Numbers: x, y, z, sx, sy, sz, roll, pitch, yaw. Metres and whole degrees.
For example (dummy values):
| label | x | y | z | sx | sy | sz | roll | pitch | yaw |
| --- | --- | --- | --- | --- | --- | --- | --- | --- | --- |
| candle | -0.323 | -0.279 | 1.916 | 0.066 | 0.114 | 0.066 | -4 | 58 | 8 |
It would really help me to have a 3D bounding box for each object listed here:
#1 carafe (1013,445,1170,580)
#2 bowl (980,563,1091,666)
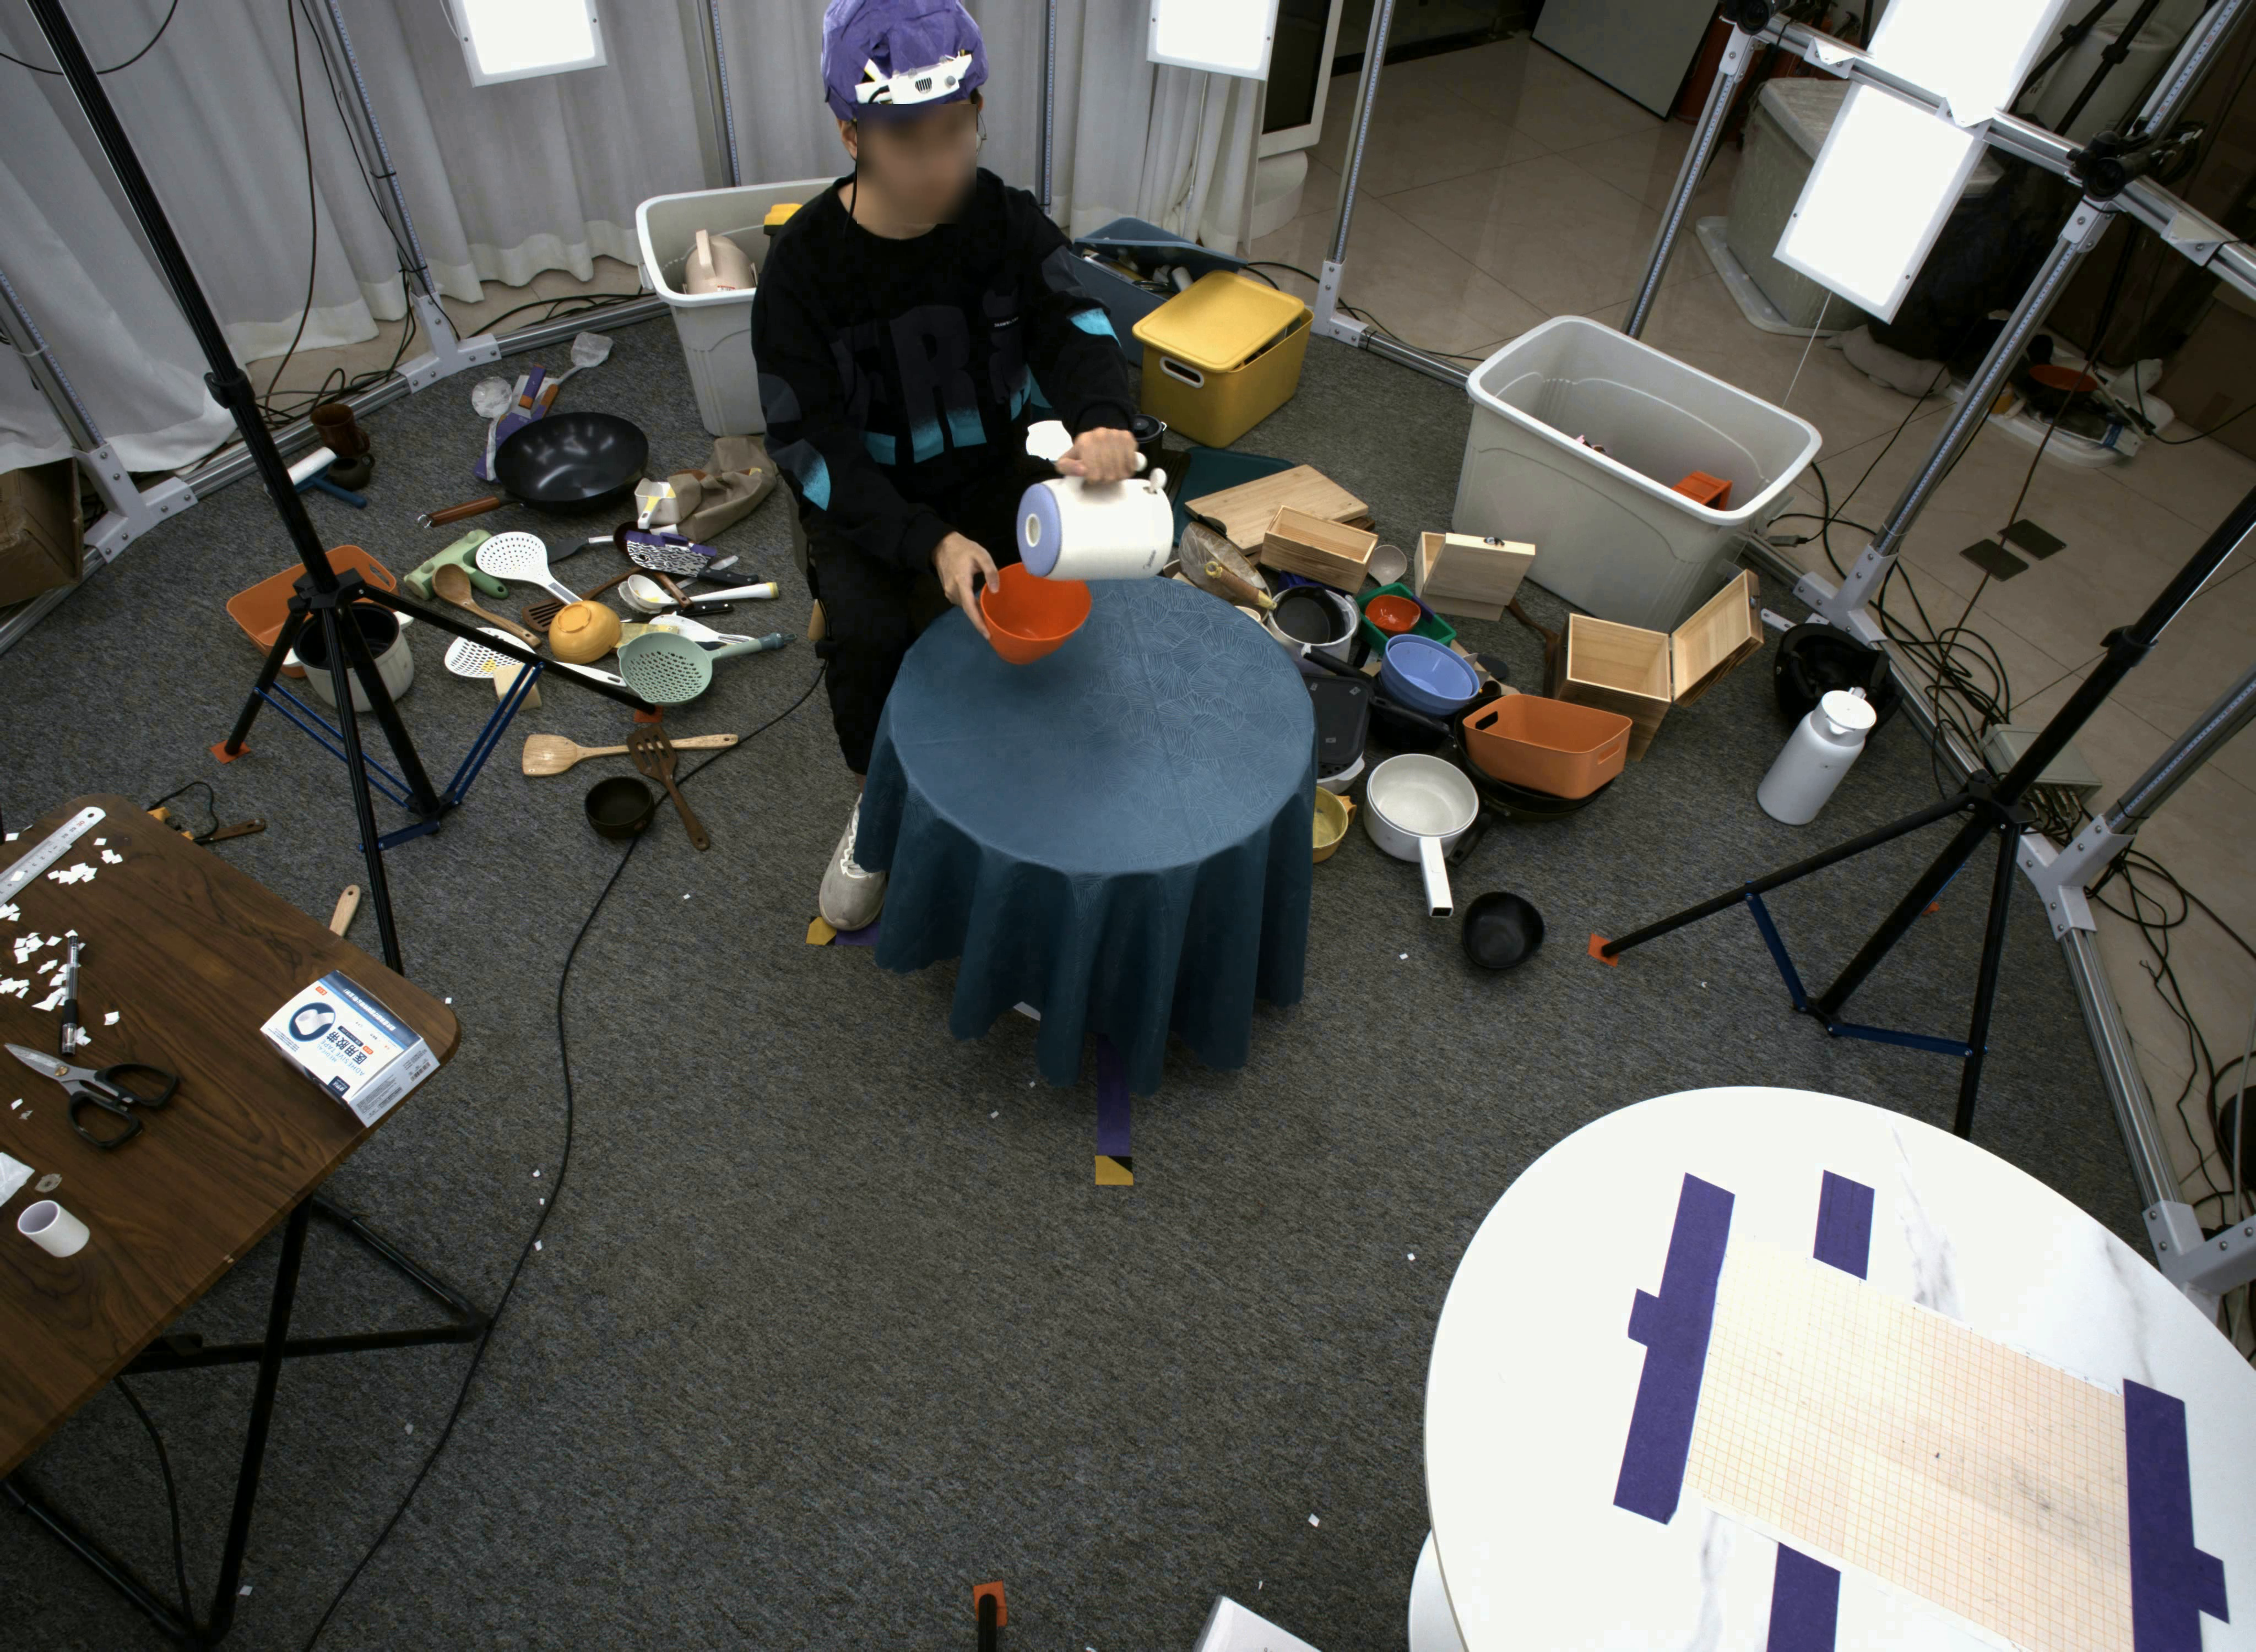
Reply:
| label | x | y | z | sx | sy | sz | roll | pitch | yaw |
| --- | --- | --- | --- | --- | --- | --- | --- | --- | --- |
| carafe | -0.040 | -0.406 | 1.665 | 0.182 | 0.187 | 0.135 | -7 | 49 | -30 |
| bowl | -0.133 | -0.279 | 1.765 | 0.147 | 0.102 | 0.152 | 8 | 50 | -10 |
